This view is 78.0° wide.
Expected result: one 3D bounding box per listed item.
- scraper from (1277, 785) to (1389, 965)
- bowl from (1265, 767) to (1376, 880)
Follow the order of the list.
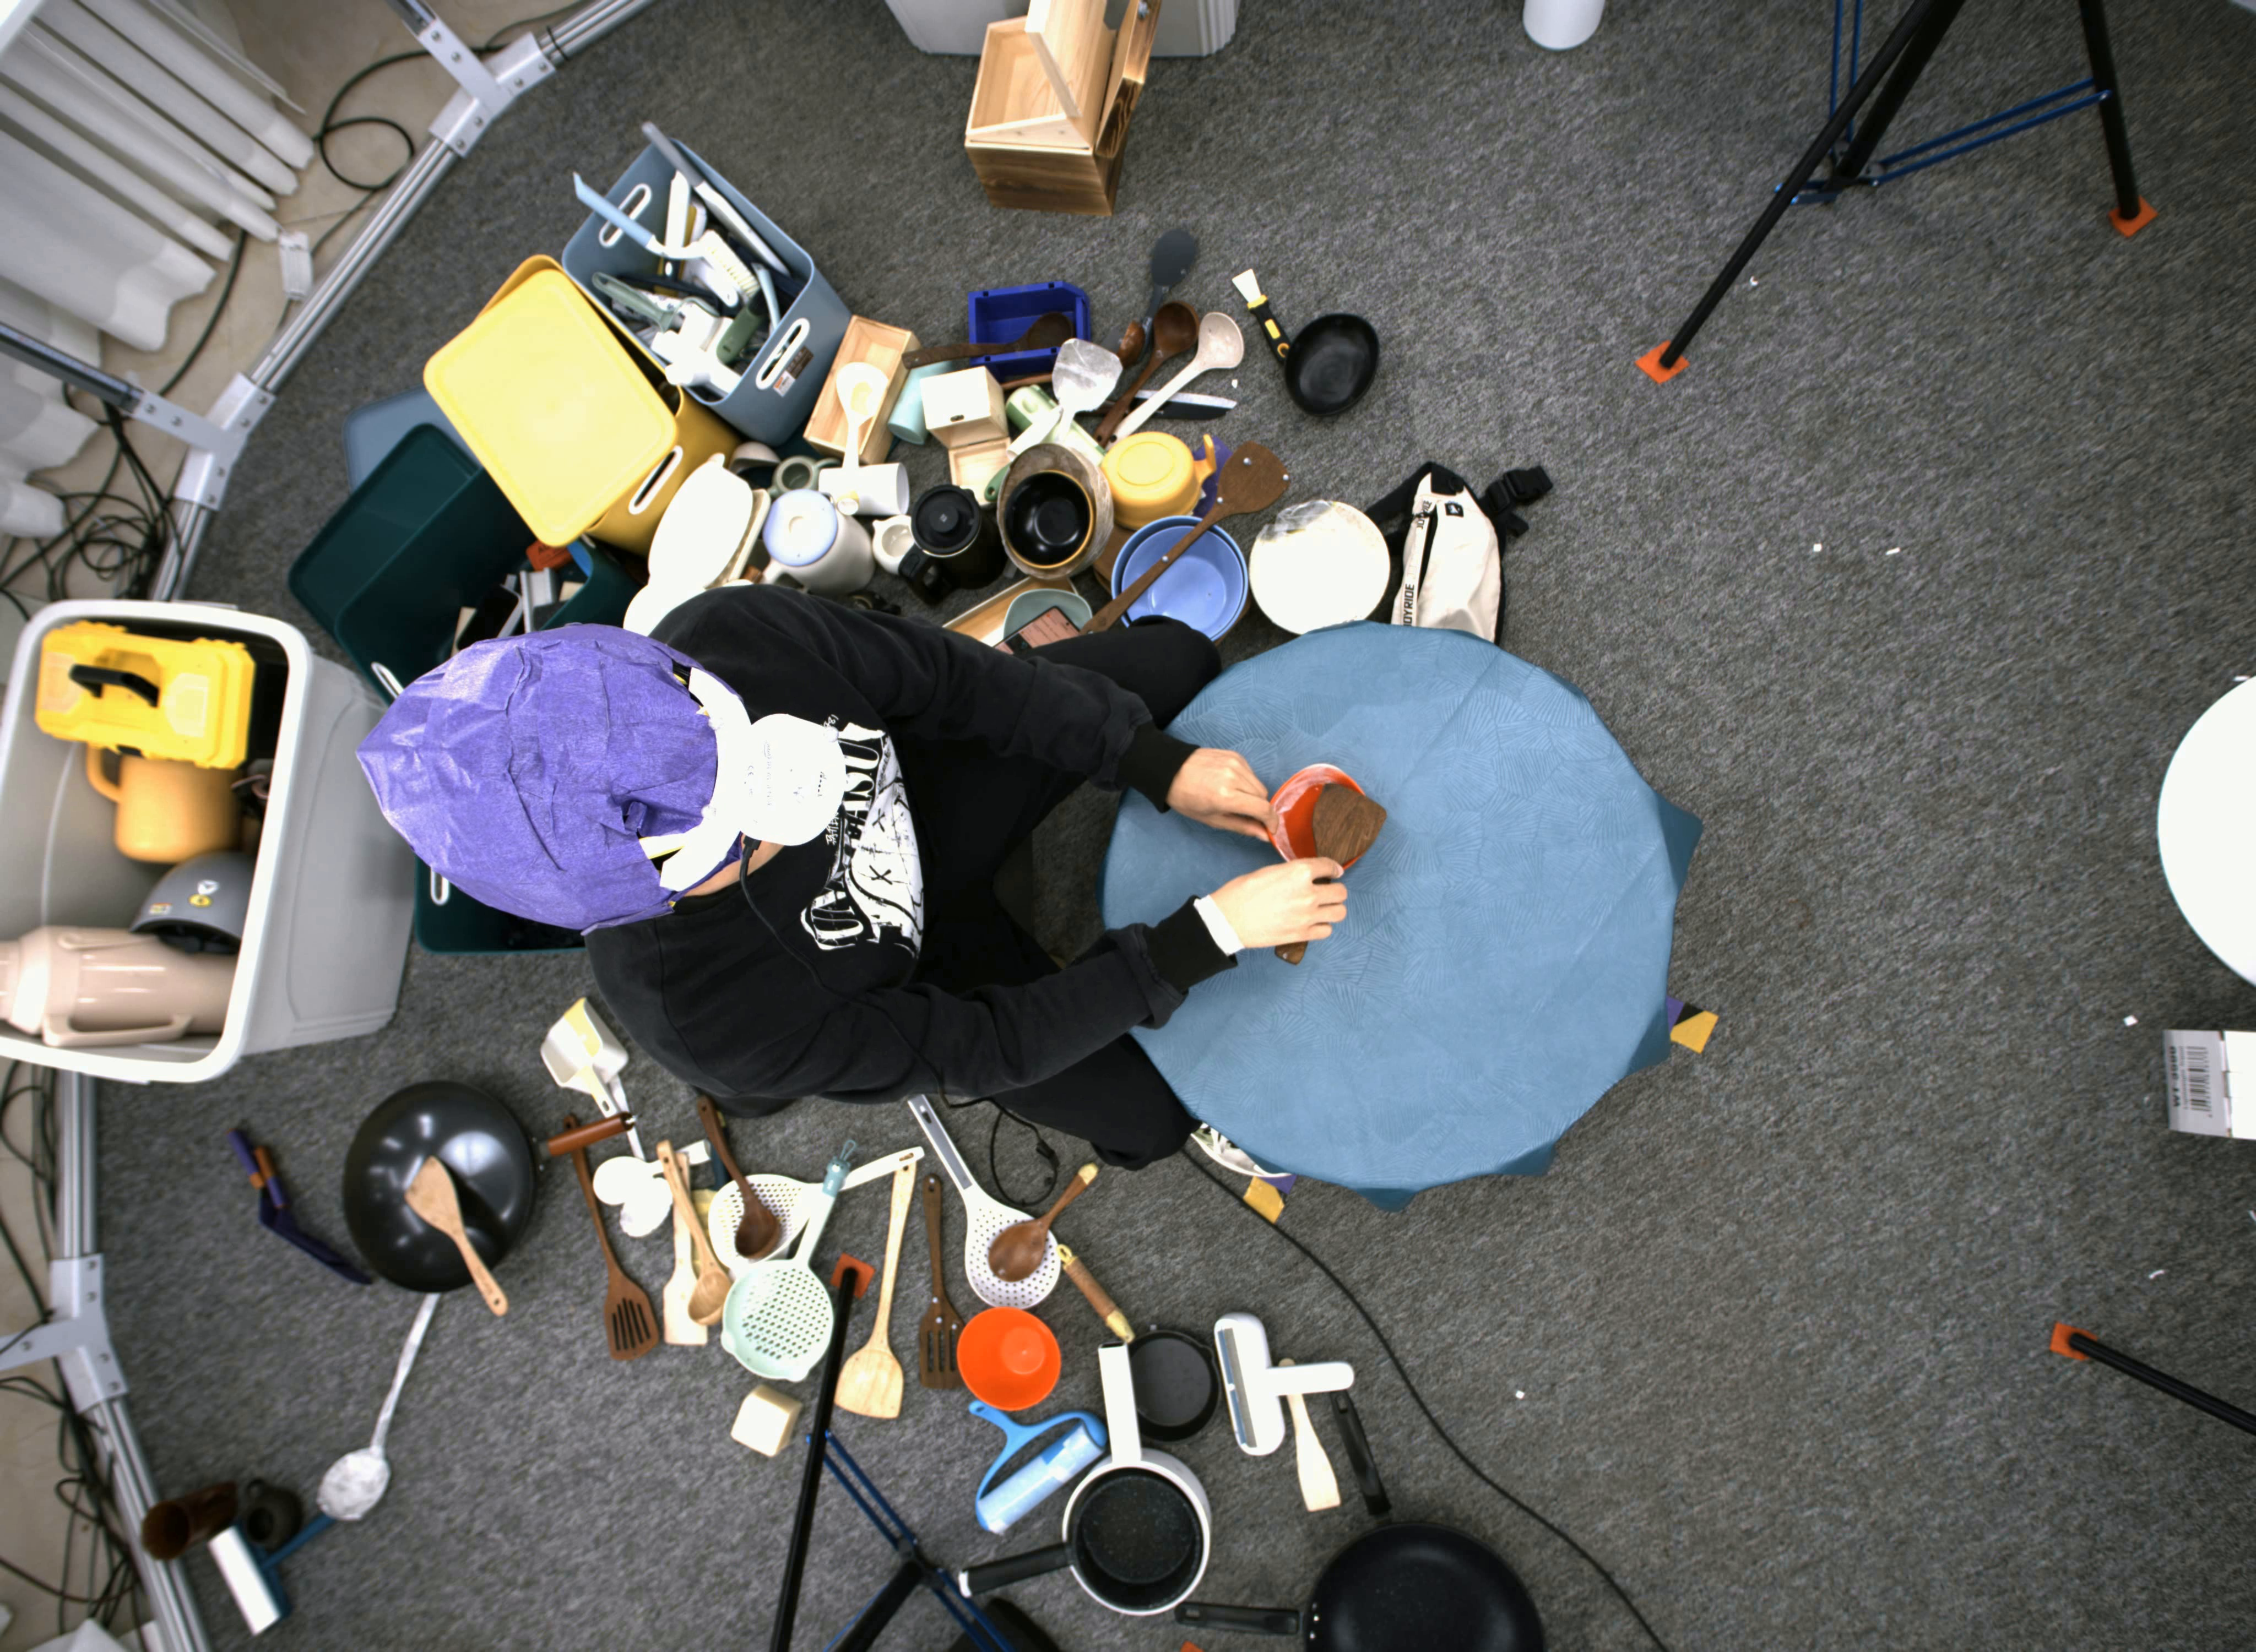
[{"bbox_3d":[0.197,0.050,1.384,0.076,0.011,0.206,29,62,0],"label":"scraper"},{"bbox_3d":[0.195,-0.002,1.447,0.119,0.051,0.119,0,91,-11],"label":"bowl"}]
